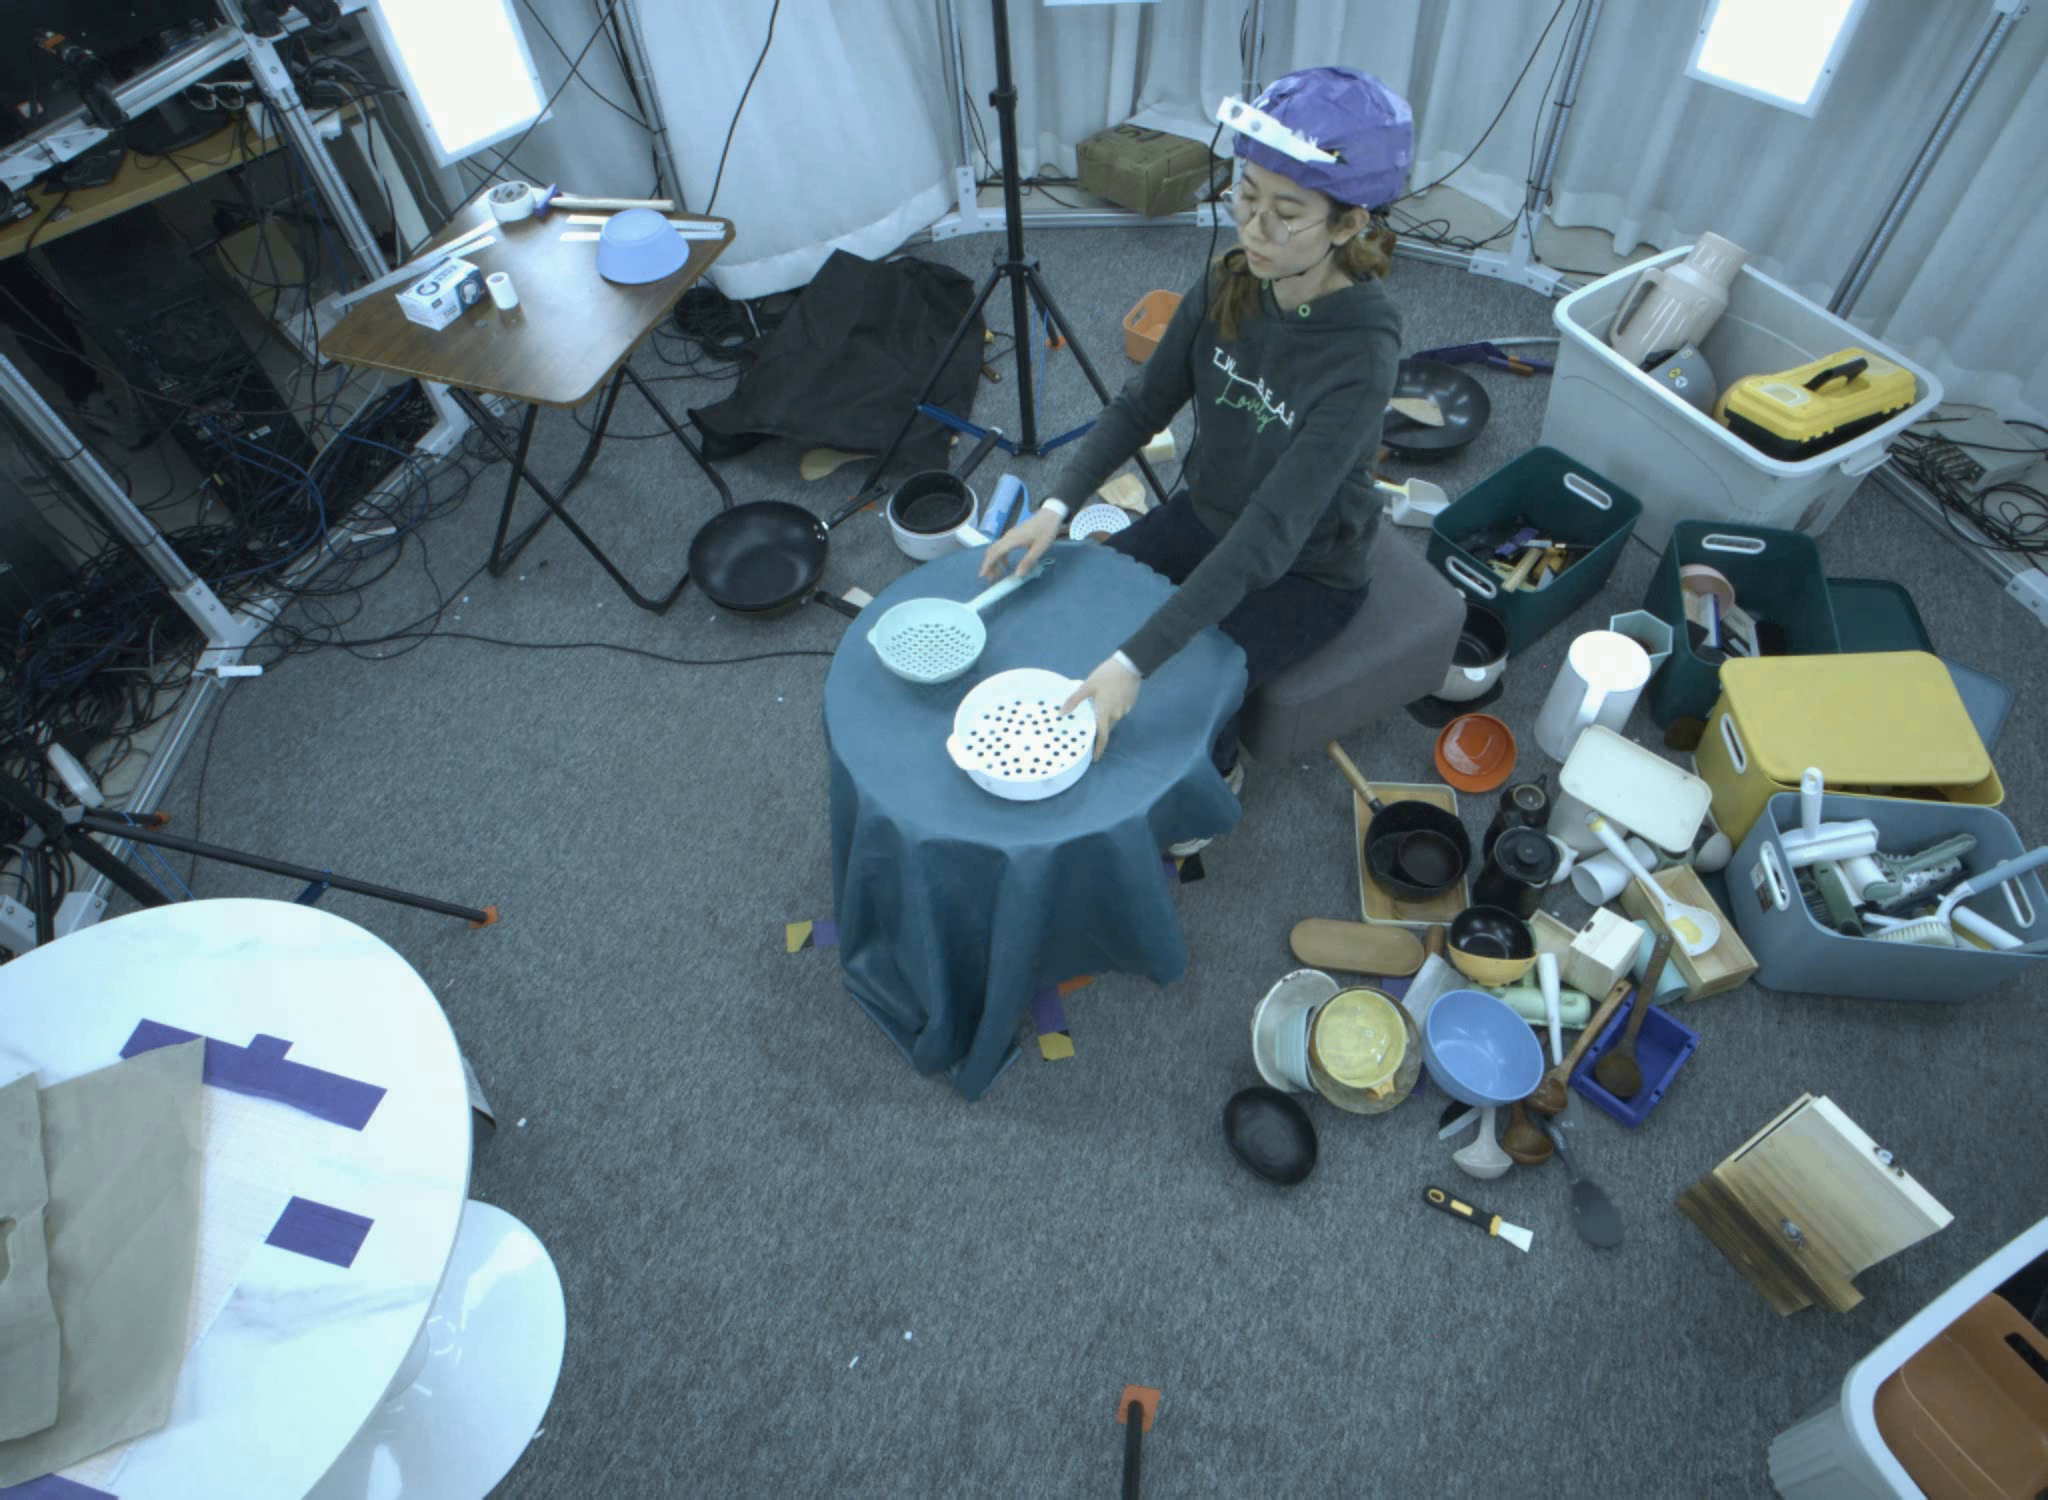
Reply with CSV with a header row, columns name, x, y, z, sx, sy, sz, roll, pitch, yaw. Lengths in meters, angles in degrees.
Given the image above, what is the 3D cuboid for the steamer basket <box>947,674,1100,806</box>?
name,x,y,z,sx,sy,sz,roll,pitch,yaw
steamer basket,0.001,-0.012,1.767,0.232,0.070,0.198,-25,59,-15

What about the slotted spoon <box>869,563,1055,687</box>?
name,x,y,z,sx,sy,sz,roll,pitch,yaw
slotted spoon,-0.076,-0.212,1.911,0.166,0.076,0.361,36,63,23
